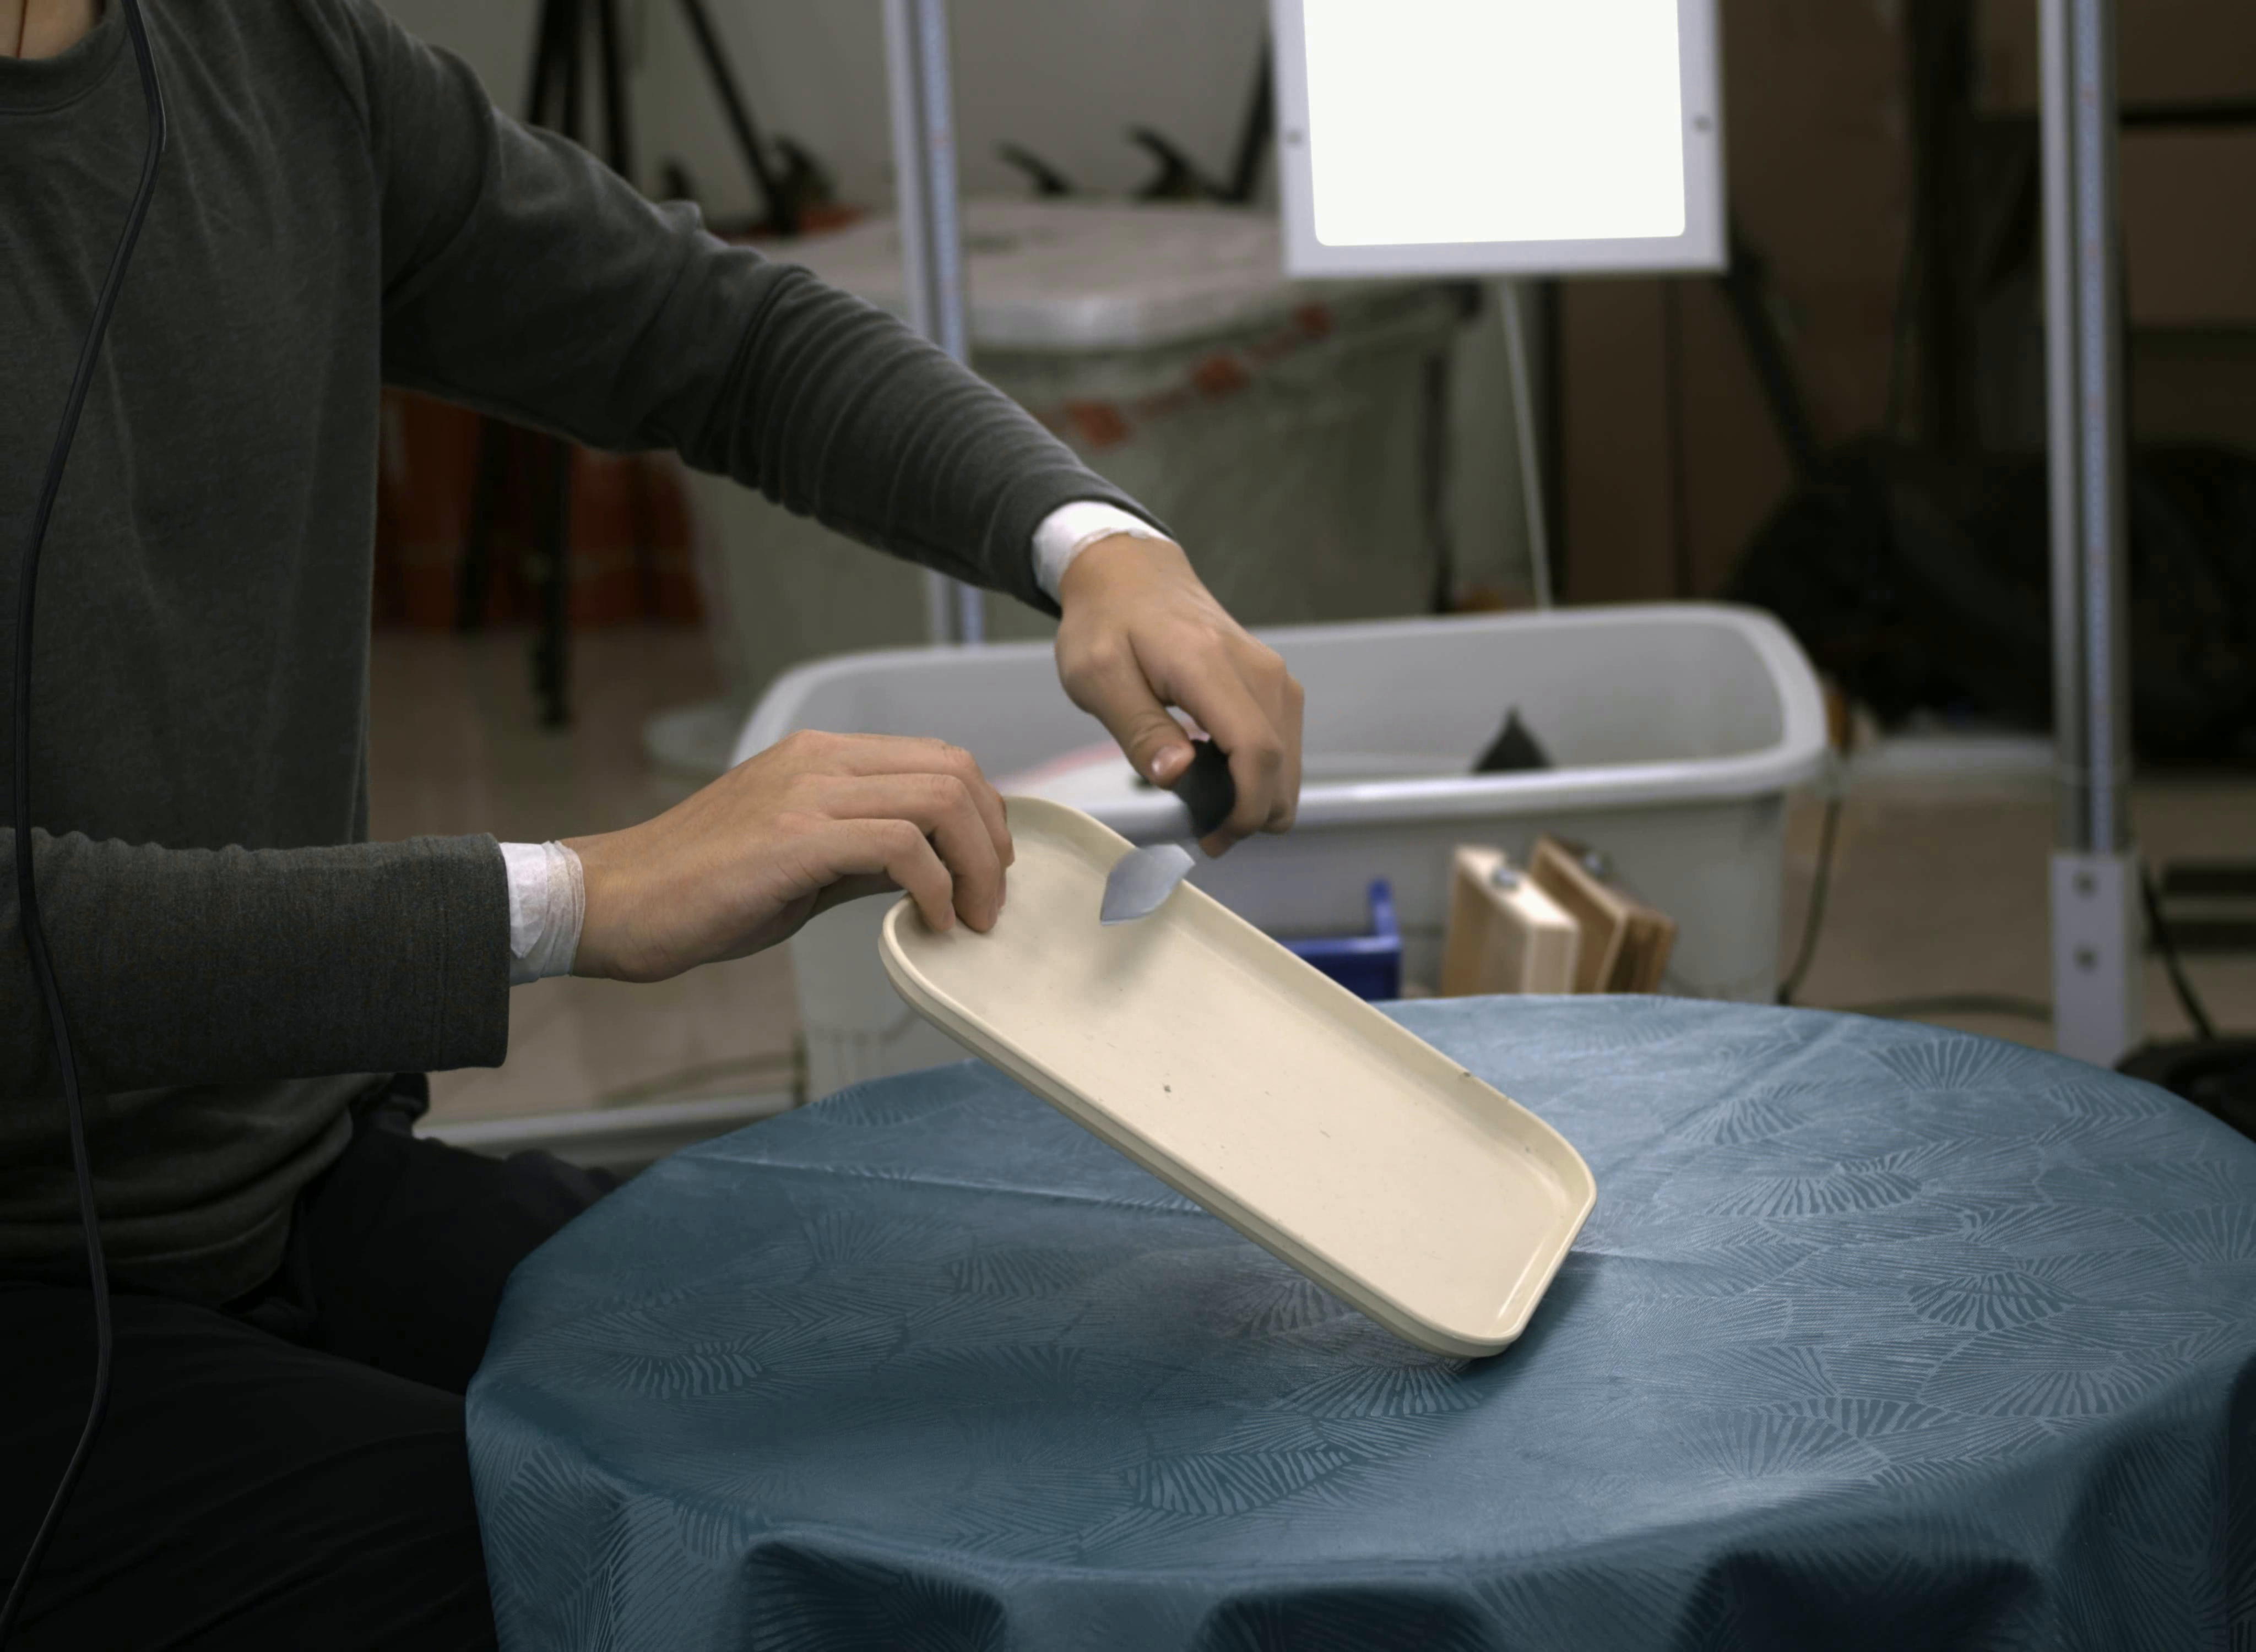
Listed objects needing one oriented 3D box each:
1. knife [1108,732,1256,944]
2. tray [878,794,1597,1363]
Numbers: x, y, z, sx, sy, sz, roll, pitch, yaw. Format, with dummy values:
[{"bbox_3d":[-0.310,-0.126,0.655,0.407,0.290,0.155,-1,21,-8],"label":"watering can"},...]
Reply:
[{"bbox_3d":[0.015,0.004,1.866,0.016,0.024,0.235,-43,4,19],"label":"knife"},{"bbox_3d":[0.036,0.080,1.768,0.240,0.018,0.168,34,26,6],"label":"tray"}]
